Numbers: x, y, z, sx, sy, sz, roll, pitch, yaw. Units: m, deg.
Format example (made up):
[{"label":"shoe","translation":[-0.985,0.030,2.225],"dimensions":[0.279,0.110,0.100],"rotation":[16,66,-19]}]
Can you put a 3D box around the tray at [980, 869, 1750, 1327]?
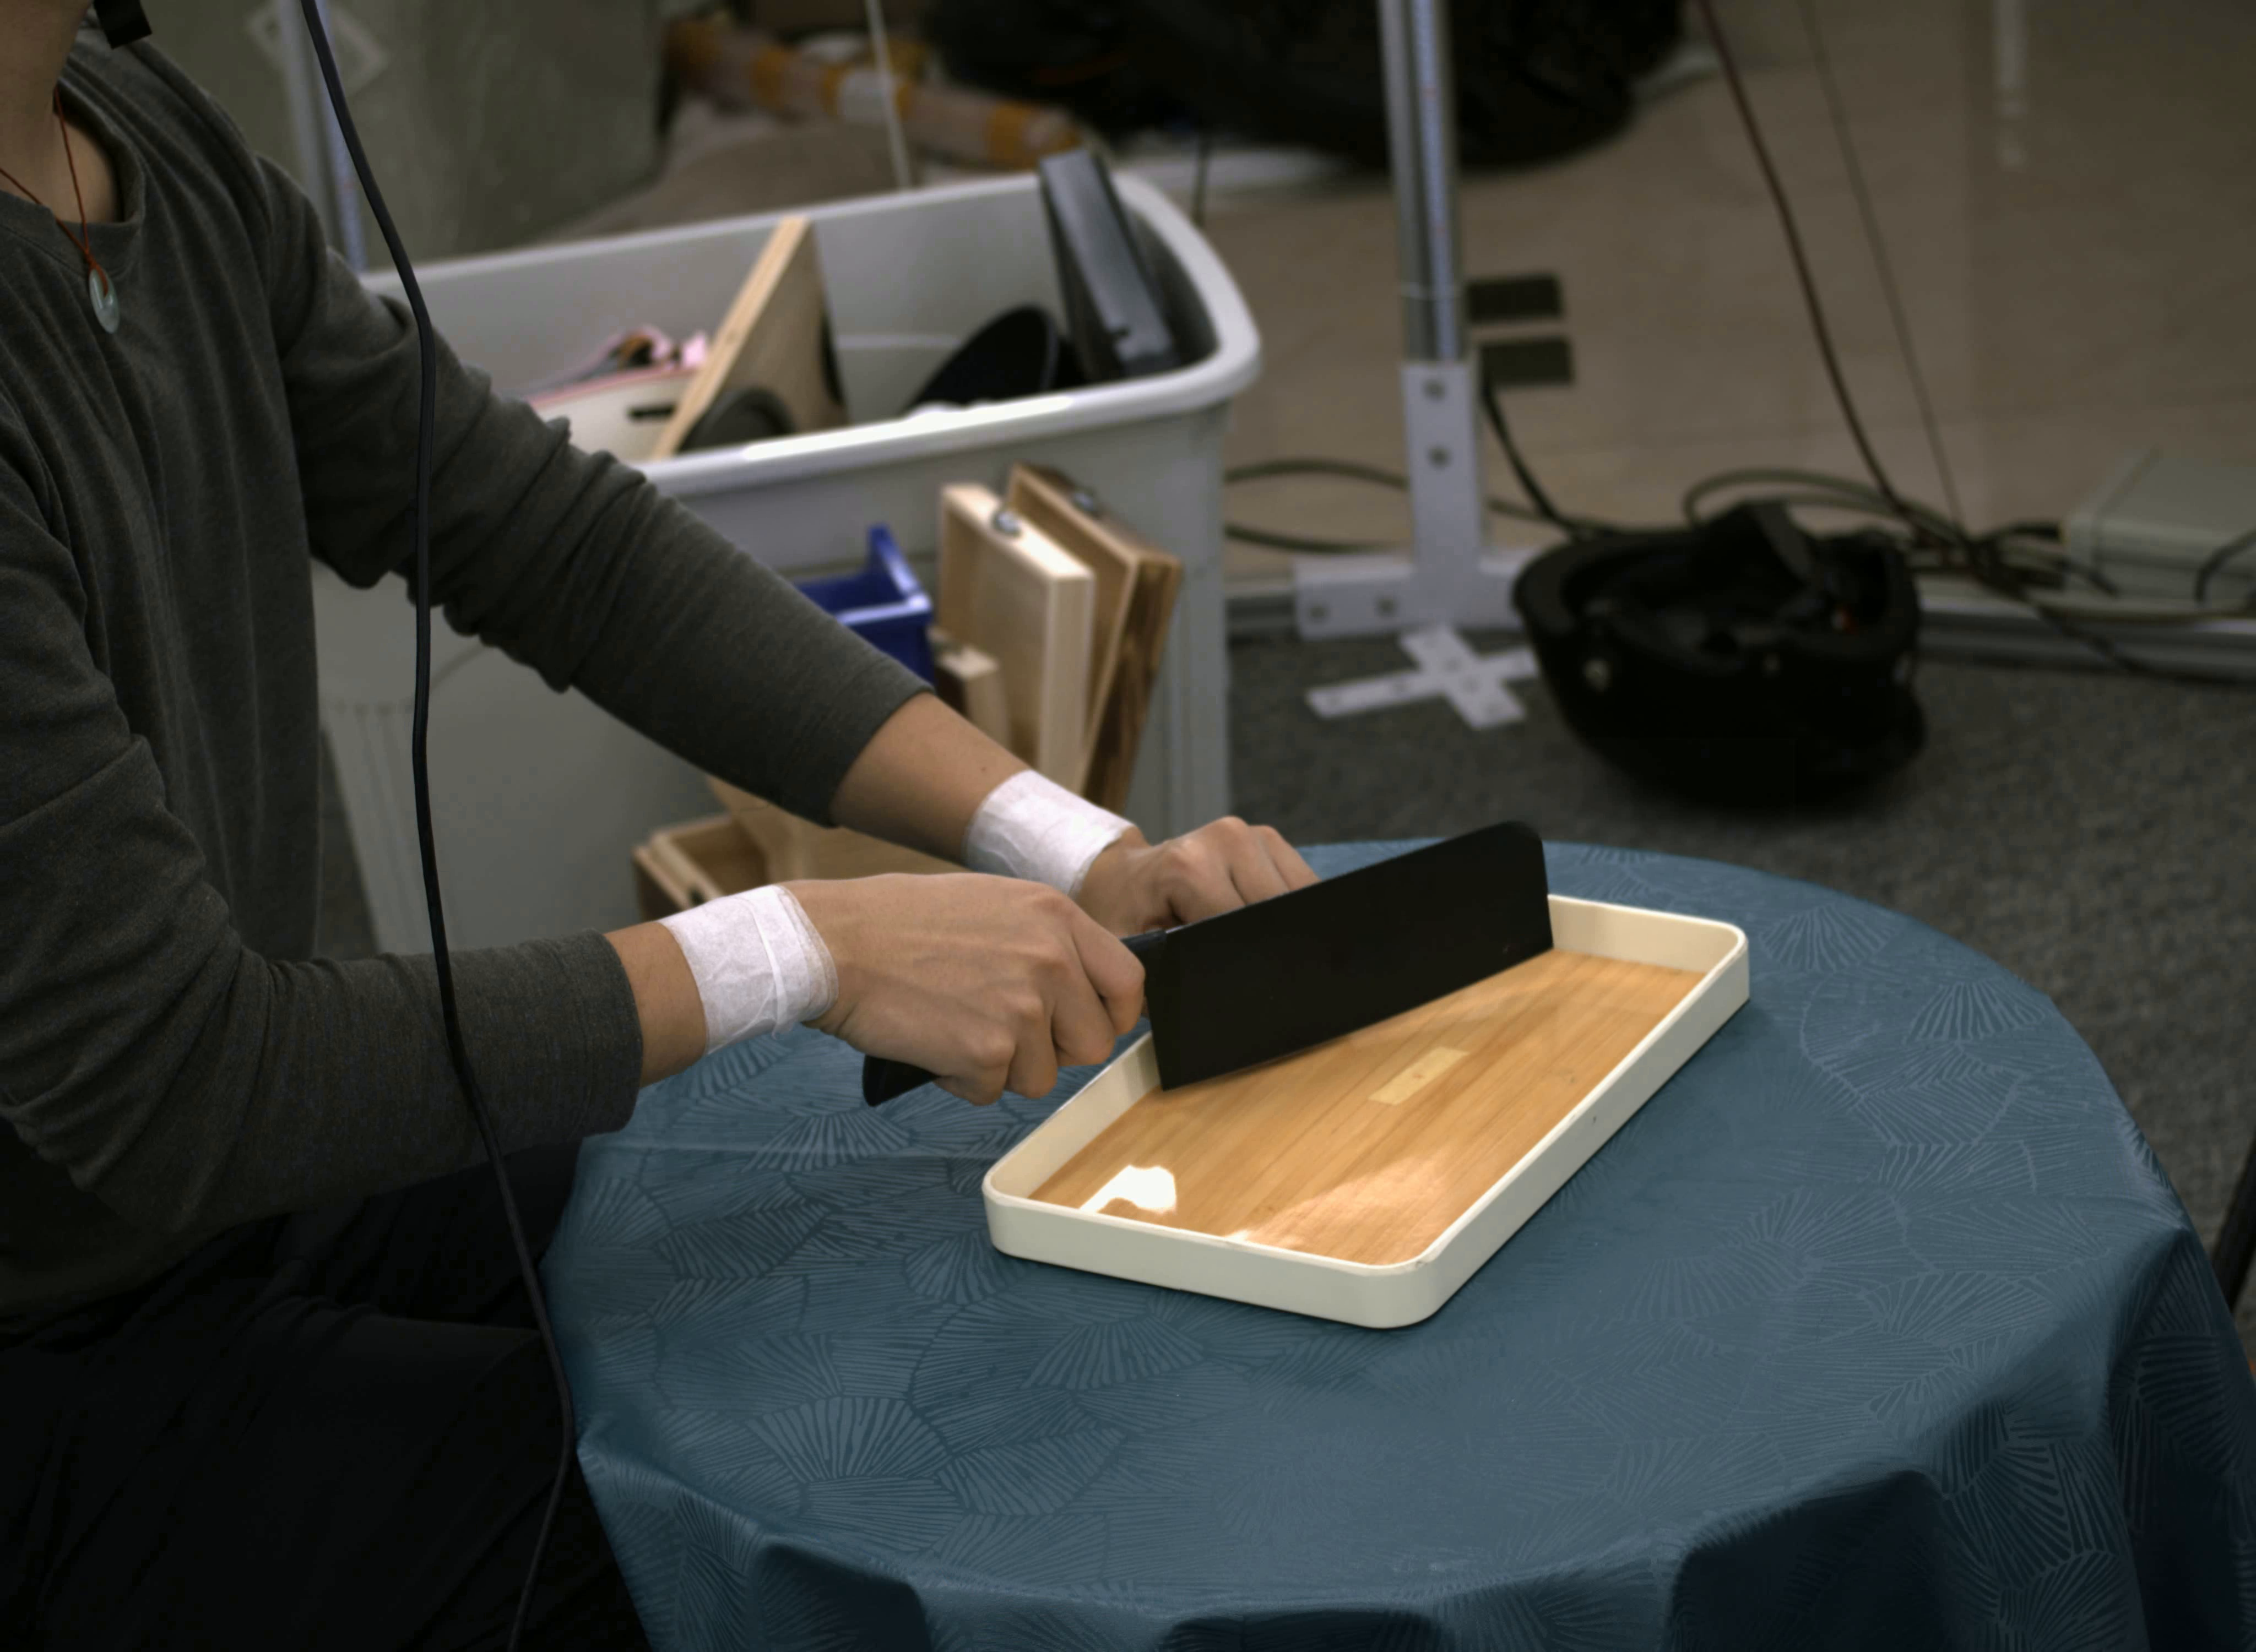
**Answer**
[{"label":"tray","translation":[0.096,0.099,2.181],"dimensions":[0.191,0.028,0.297],"rotation":[9,29,31]}]

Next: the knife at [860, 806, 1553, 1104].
[{"label":"knife","translation":[0.034,0.059,2.194],"dimensions":[0.301,0.082,0.020],"rotation":[-13,22,-24]}]
